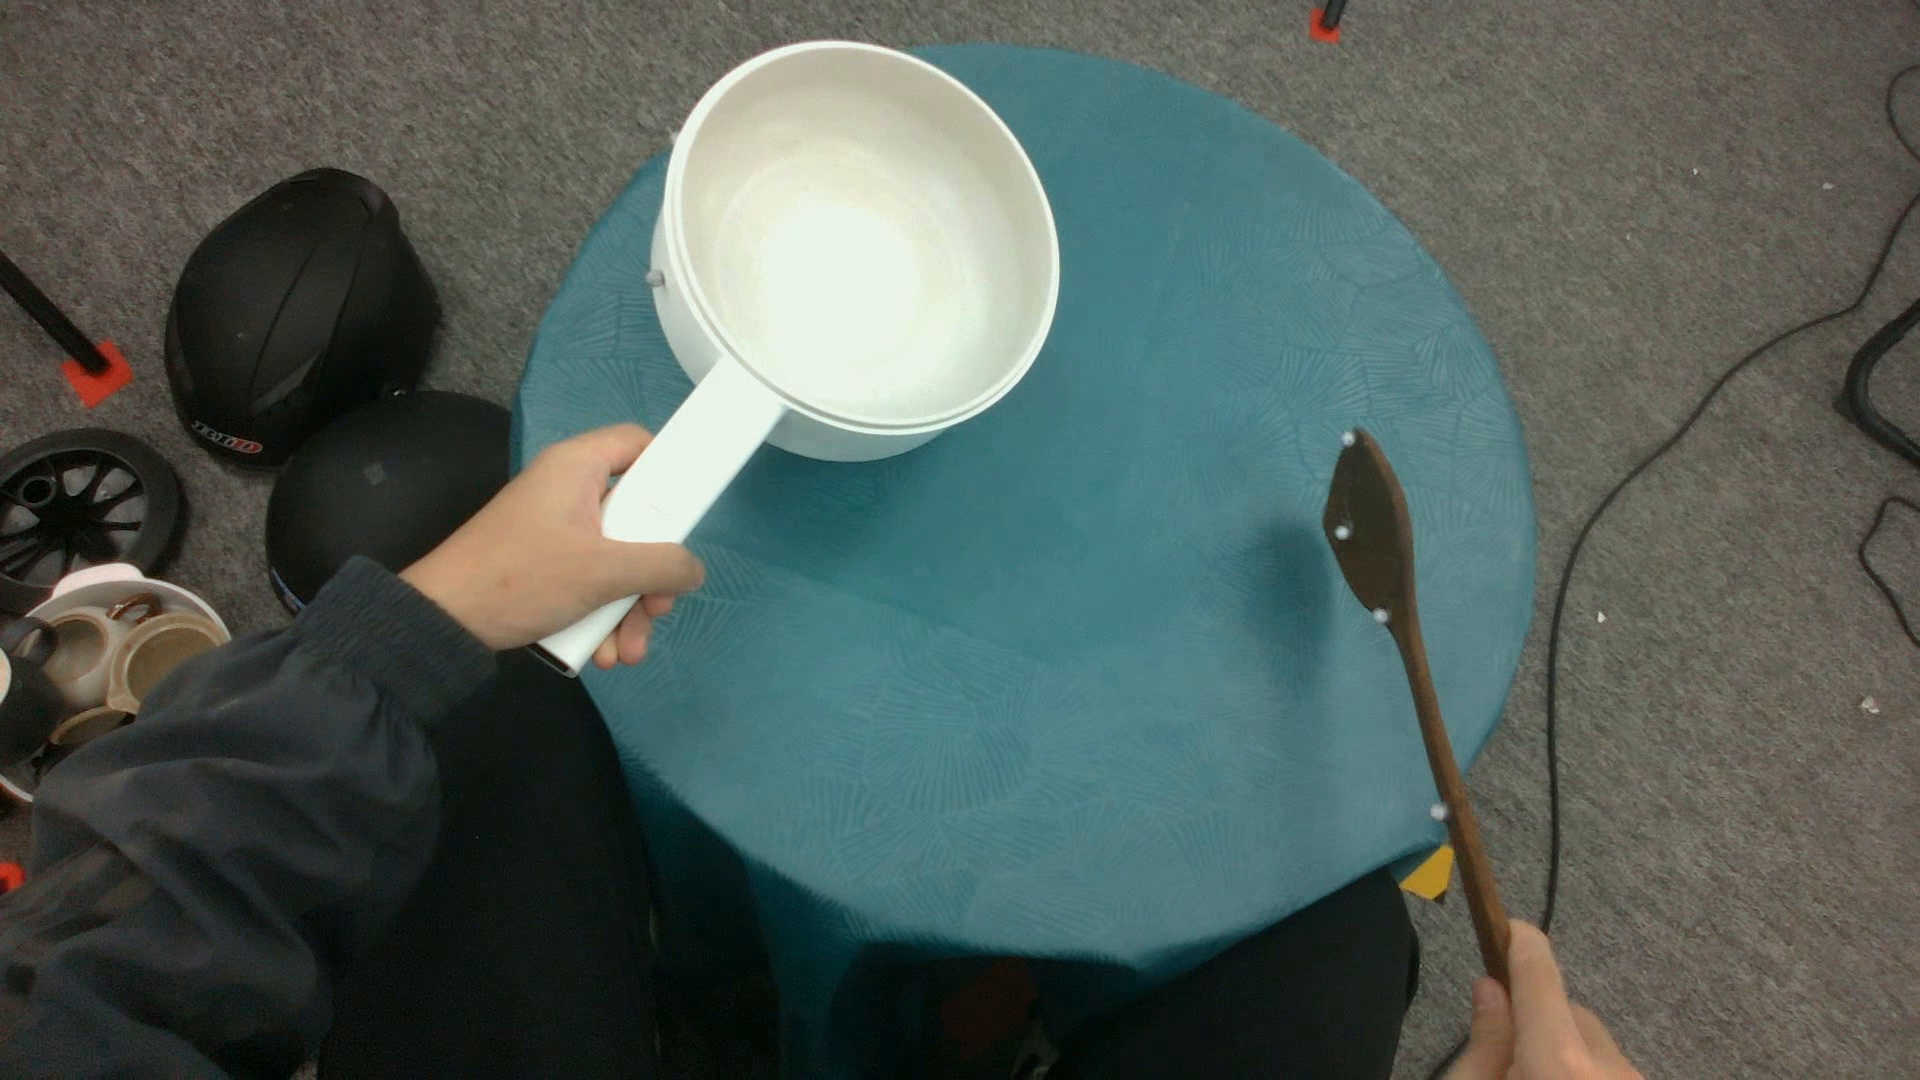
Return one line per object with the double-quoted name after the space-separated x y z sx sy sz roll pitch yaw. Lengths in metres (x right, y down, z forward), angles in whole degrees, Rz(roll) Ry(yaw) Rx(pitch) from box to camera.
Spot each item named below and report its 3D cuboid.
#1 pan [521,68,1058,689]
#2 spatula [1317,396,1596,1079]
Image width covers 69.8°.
-0.097 -0.076 0.704 0.201 0.102 0.356 37 69 -10 "pan"
0.235 0.097 0.662 0.016 0.095 0.387 -4 56 -6 "spatula"
